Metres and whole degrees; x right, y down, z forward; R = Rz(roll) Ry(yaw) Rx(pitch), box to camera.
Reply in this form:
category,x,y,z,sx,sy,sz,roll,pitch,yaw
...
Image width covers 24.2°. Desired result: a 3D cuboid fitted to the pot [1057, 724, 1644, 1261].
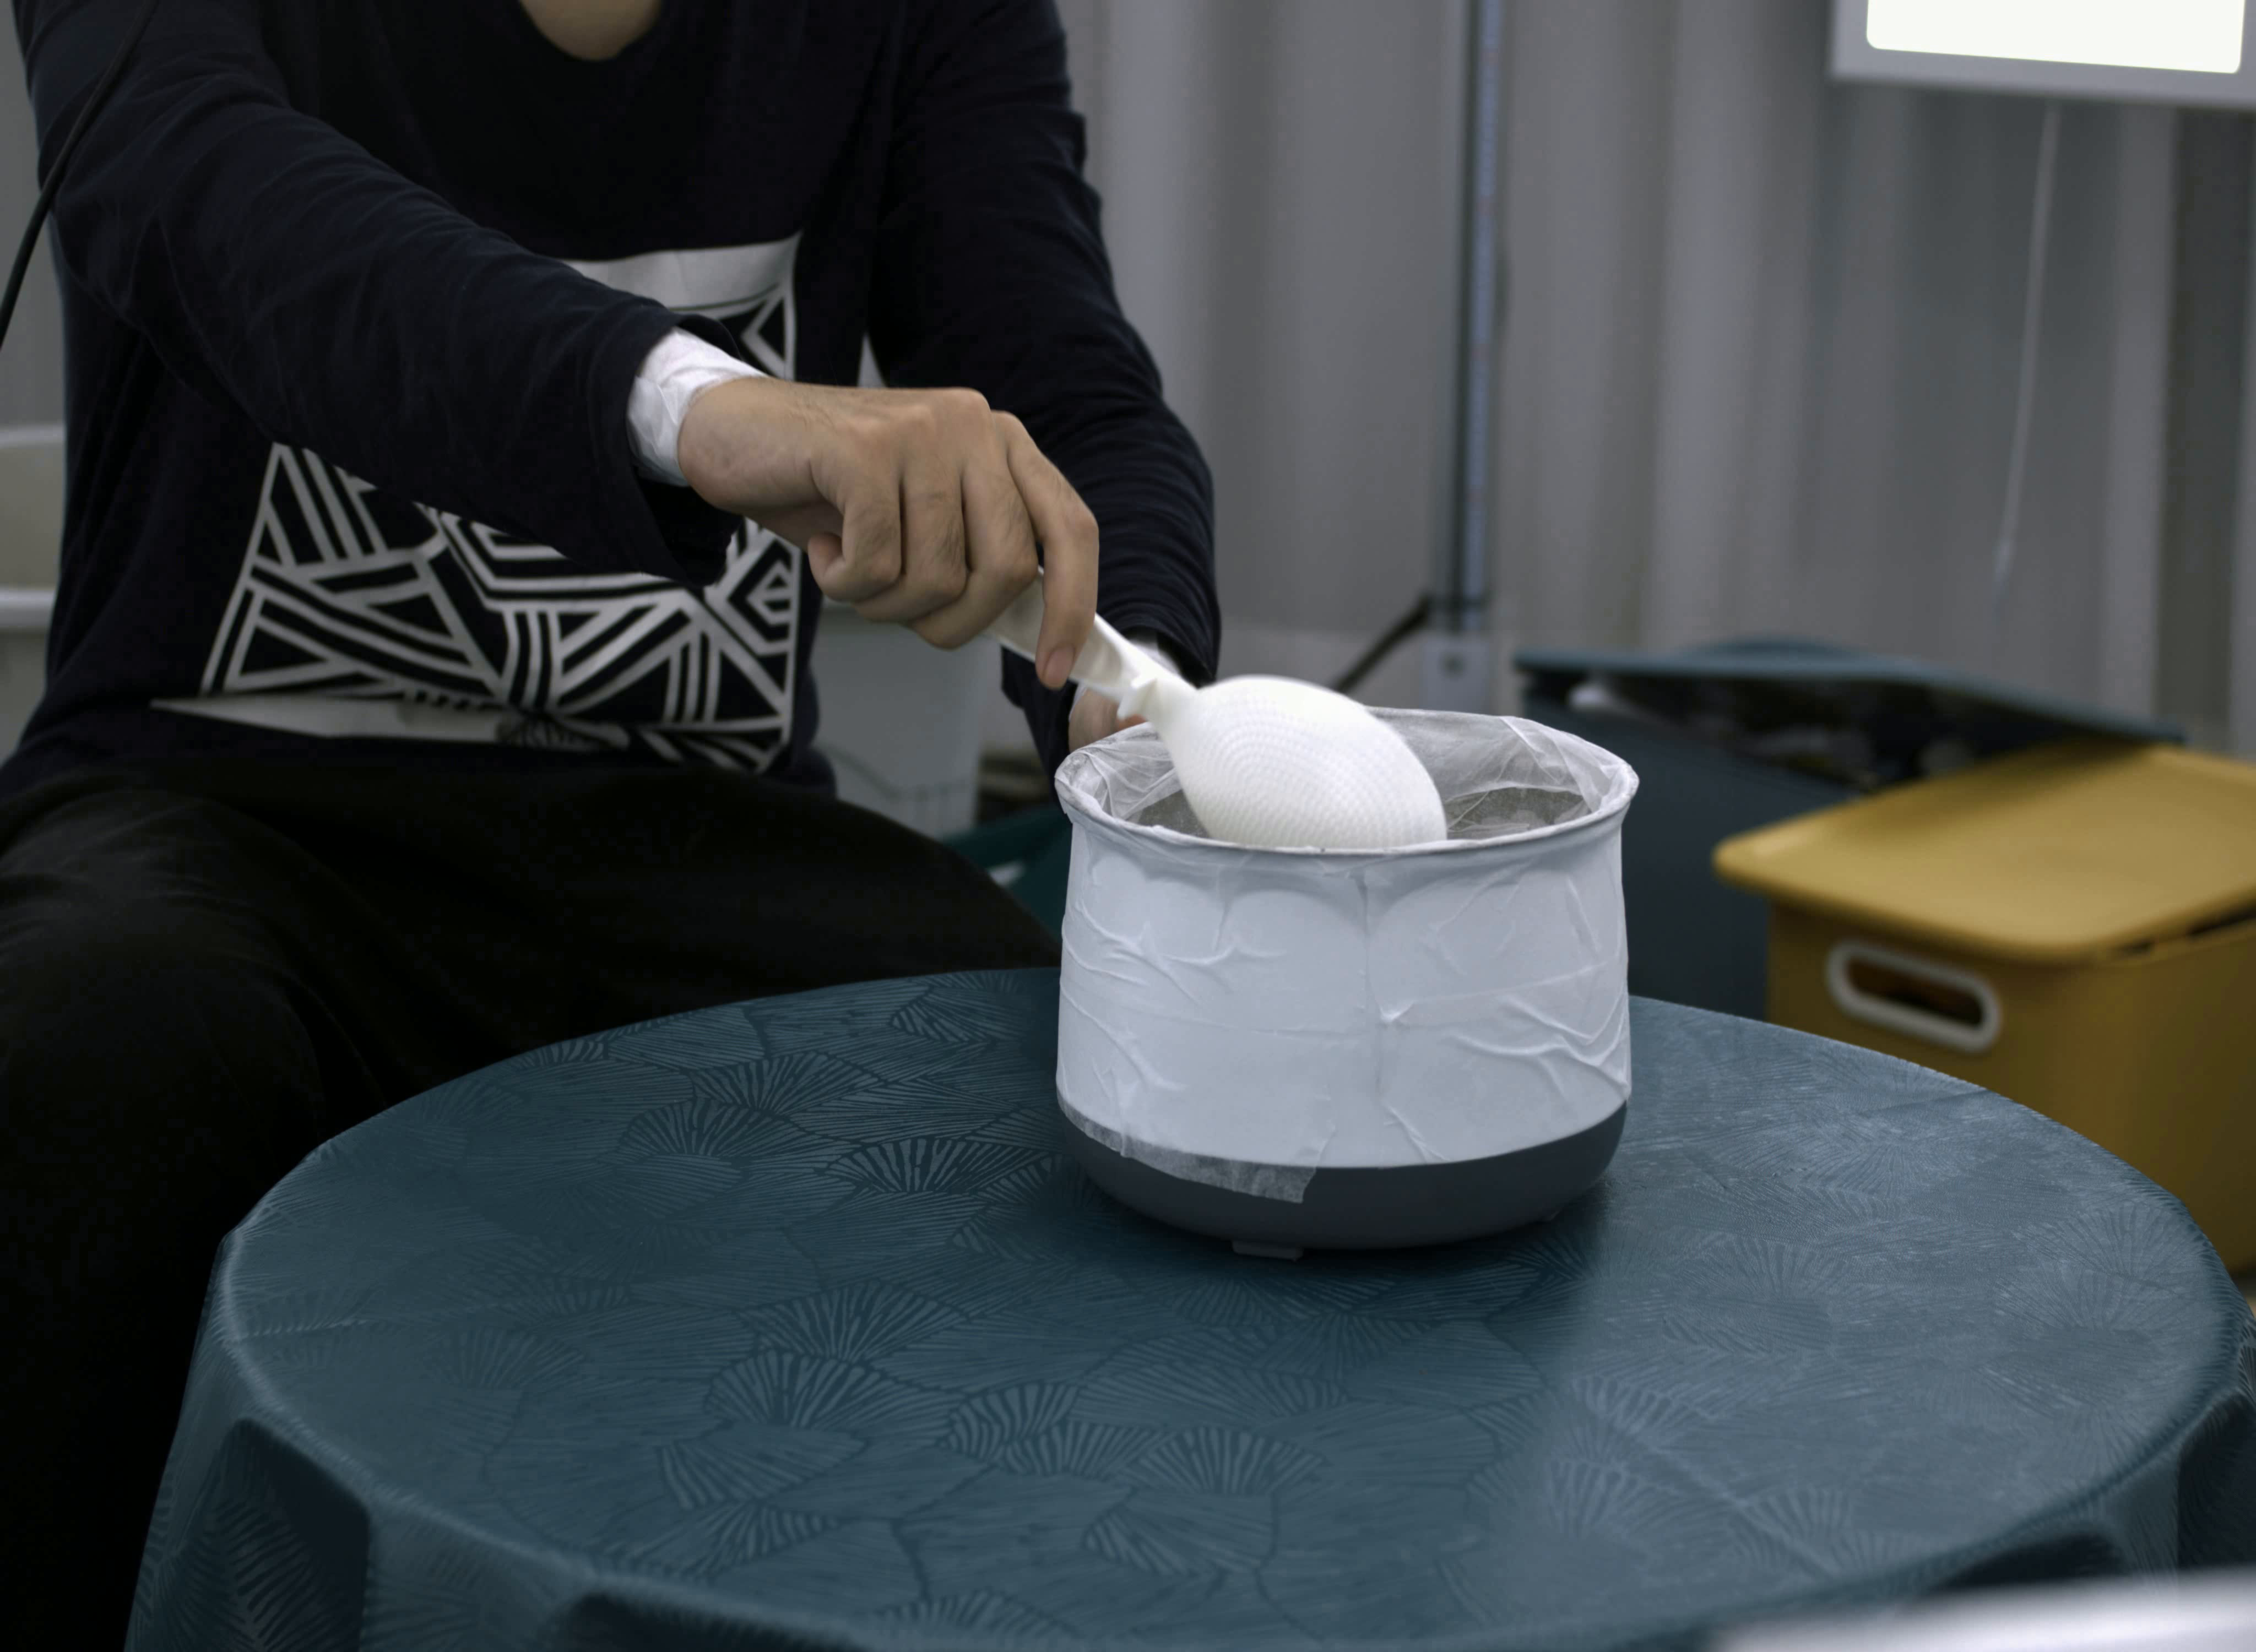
category,x,y,z,sx,sy,sz,roll,pitch,yaw
pot,0.055,0.043,1.634,0.179,0.137,0.231,-5,14,-25

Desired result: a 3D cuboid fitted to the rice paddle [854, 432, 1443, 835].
category,x,y,z,sx,sy,sz,roll,pitch,yaw
rice paddle,0.009,-0.054,1.578,0.203,0.069,0.029,32,26,14
